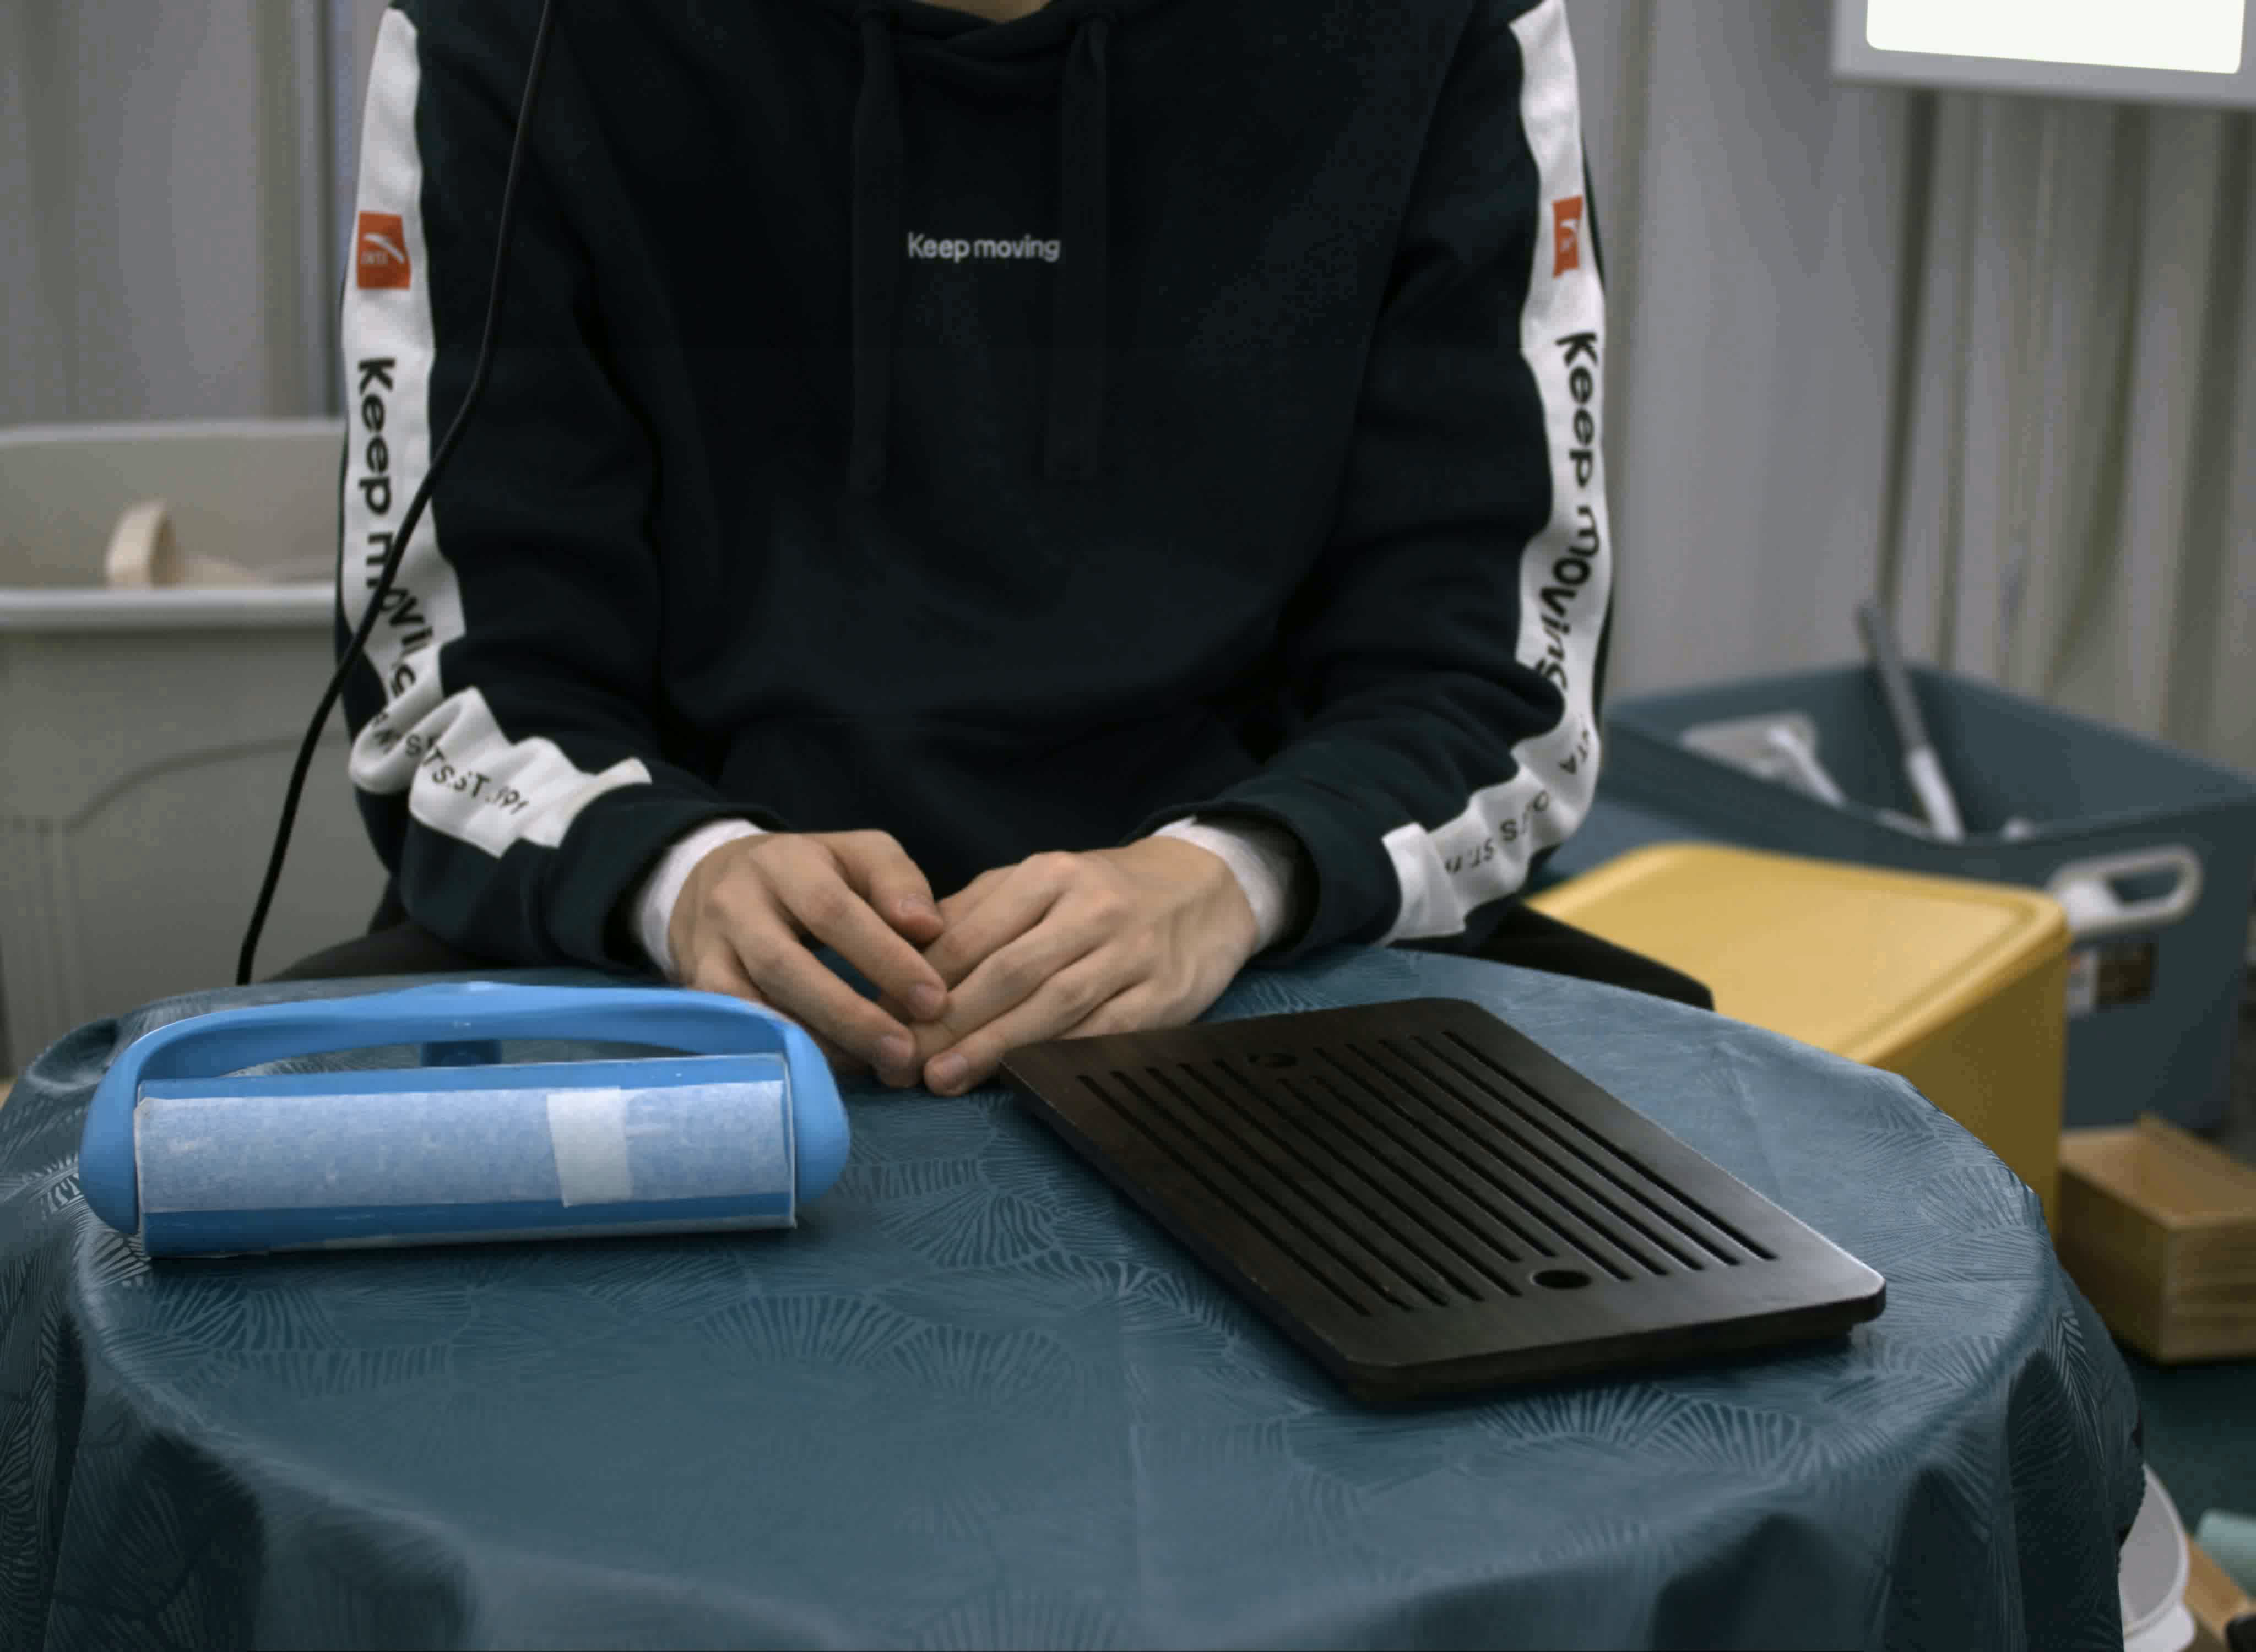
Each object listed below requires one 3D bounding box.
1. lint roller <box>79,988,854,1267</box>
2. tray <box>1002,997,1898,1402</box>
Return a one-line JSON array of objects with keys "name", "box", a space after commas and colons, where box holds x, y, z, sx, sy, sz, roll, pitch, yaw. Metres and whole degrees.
[{"name": "lint roller", "box": [-0.206, 0.080, 1.620, 0.229, 0.068, 0.178, -4, 18, -10]}, {"name": "tray", "box": [0.089, 0.109, 1.599, 0.170, 0.019, 0.302, -6, 17, -21]}]
